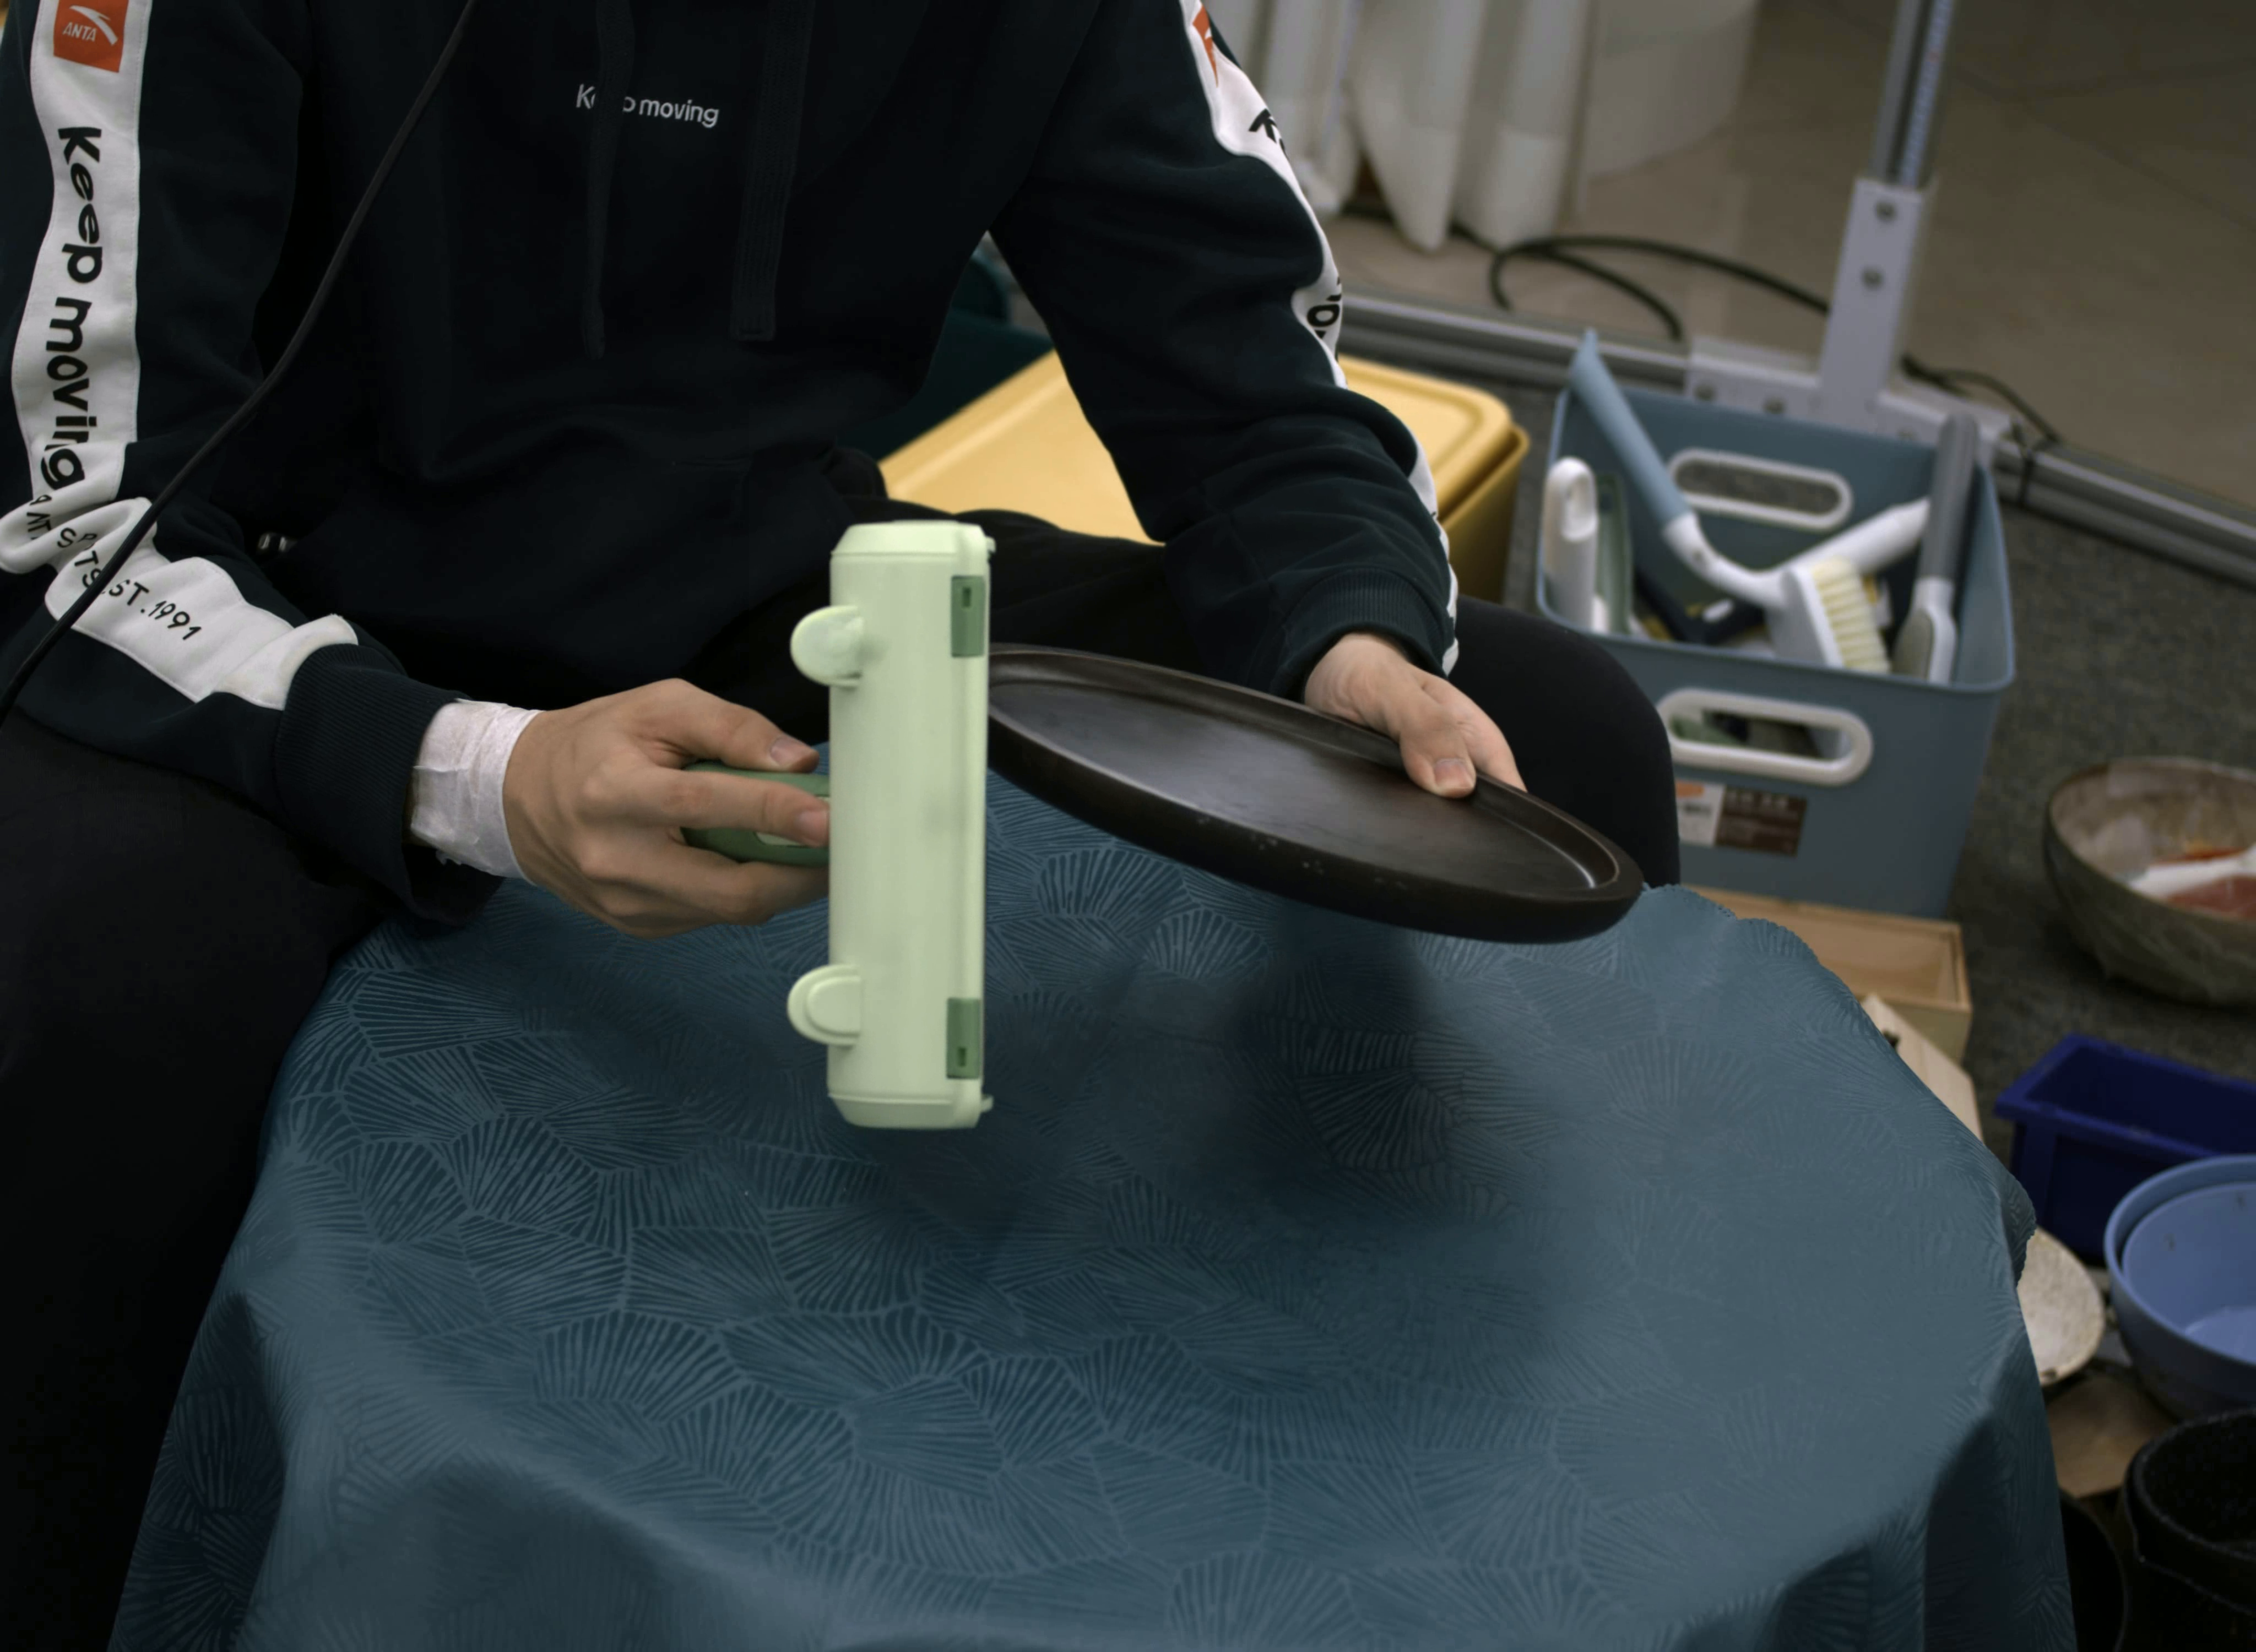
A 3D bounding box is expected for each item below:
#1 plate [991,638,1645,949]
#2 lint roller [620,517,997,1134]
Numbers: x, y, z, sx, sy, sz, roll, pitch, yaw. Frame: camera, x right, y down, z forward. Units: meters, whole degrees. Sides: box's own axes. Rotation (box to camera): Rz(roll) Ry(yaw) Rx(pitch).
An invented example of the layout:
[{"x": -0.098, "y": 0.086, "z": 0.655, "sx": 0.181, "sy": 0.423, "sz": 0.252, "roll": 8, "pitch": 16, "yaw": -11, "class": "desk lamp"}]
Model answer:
[{"x": 0.053, "y": -0.011, "z": 1.811, "sx": 0.254, "sy": 0.029, "sz": 0.255, "roll": 16, "pitch": 12, "yaw": -4, "class": "plate"}, {"x": -0.119, "y": -0.002, "z": 1.752, "sx": 0.184, "sy": 0.199, "sz": 0.081, "roll": 1, "pitch": 1, "yaw": 38, "class": "lint roller"}]
